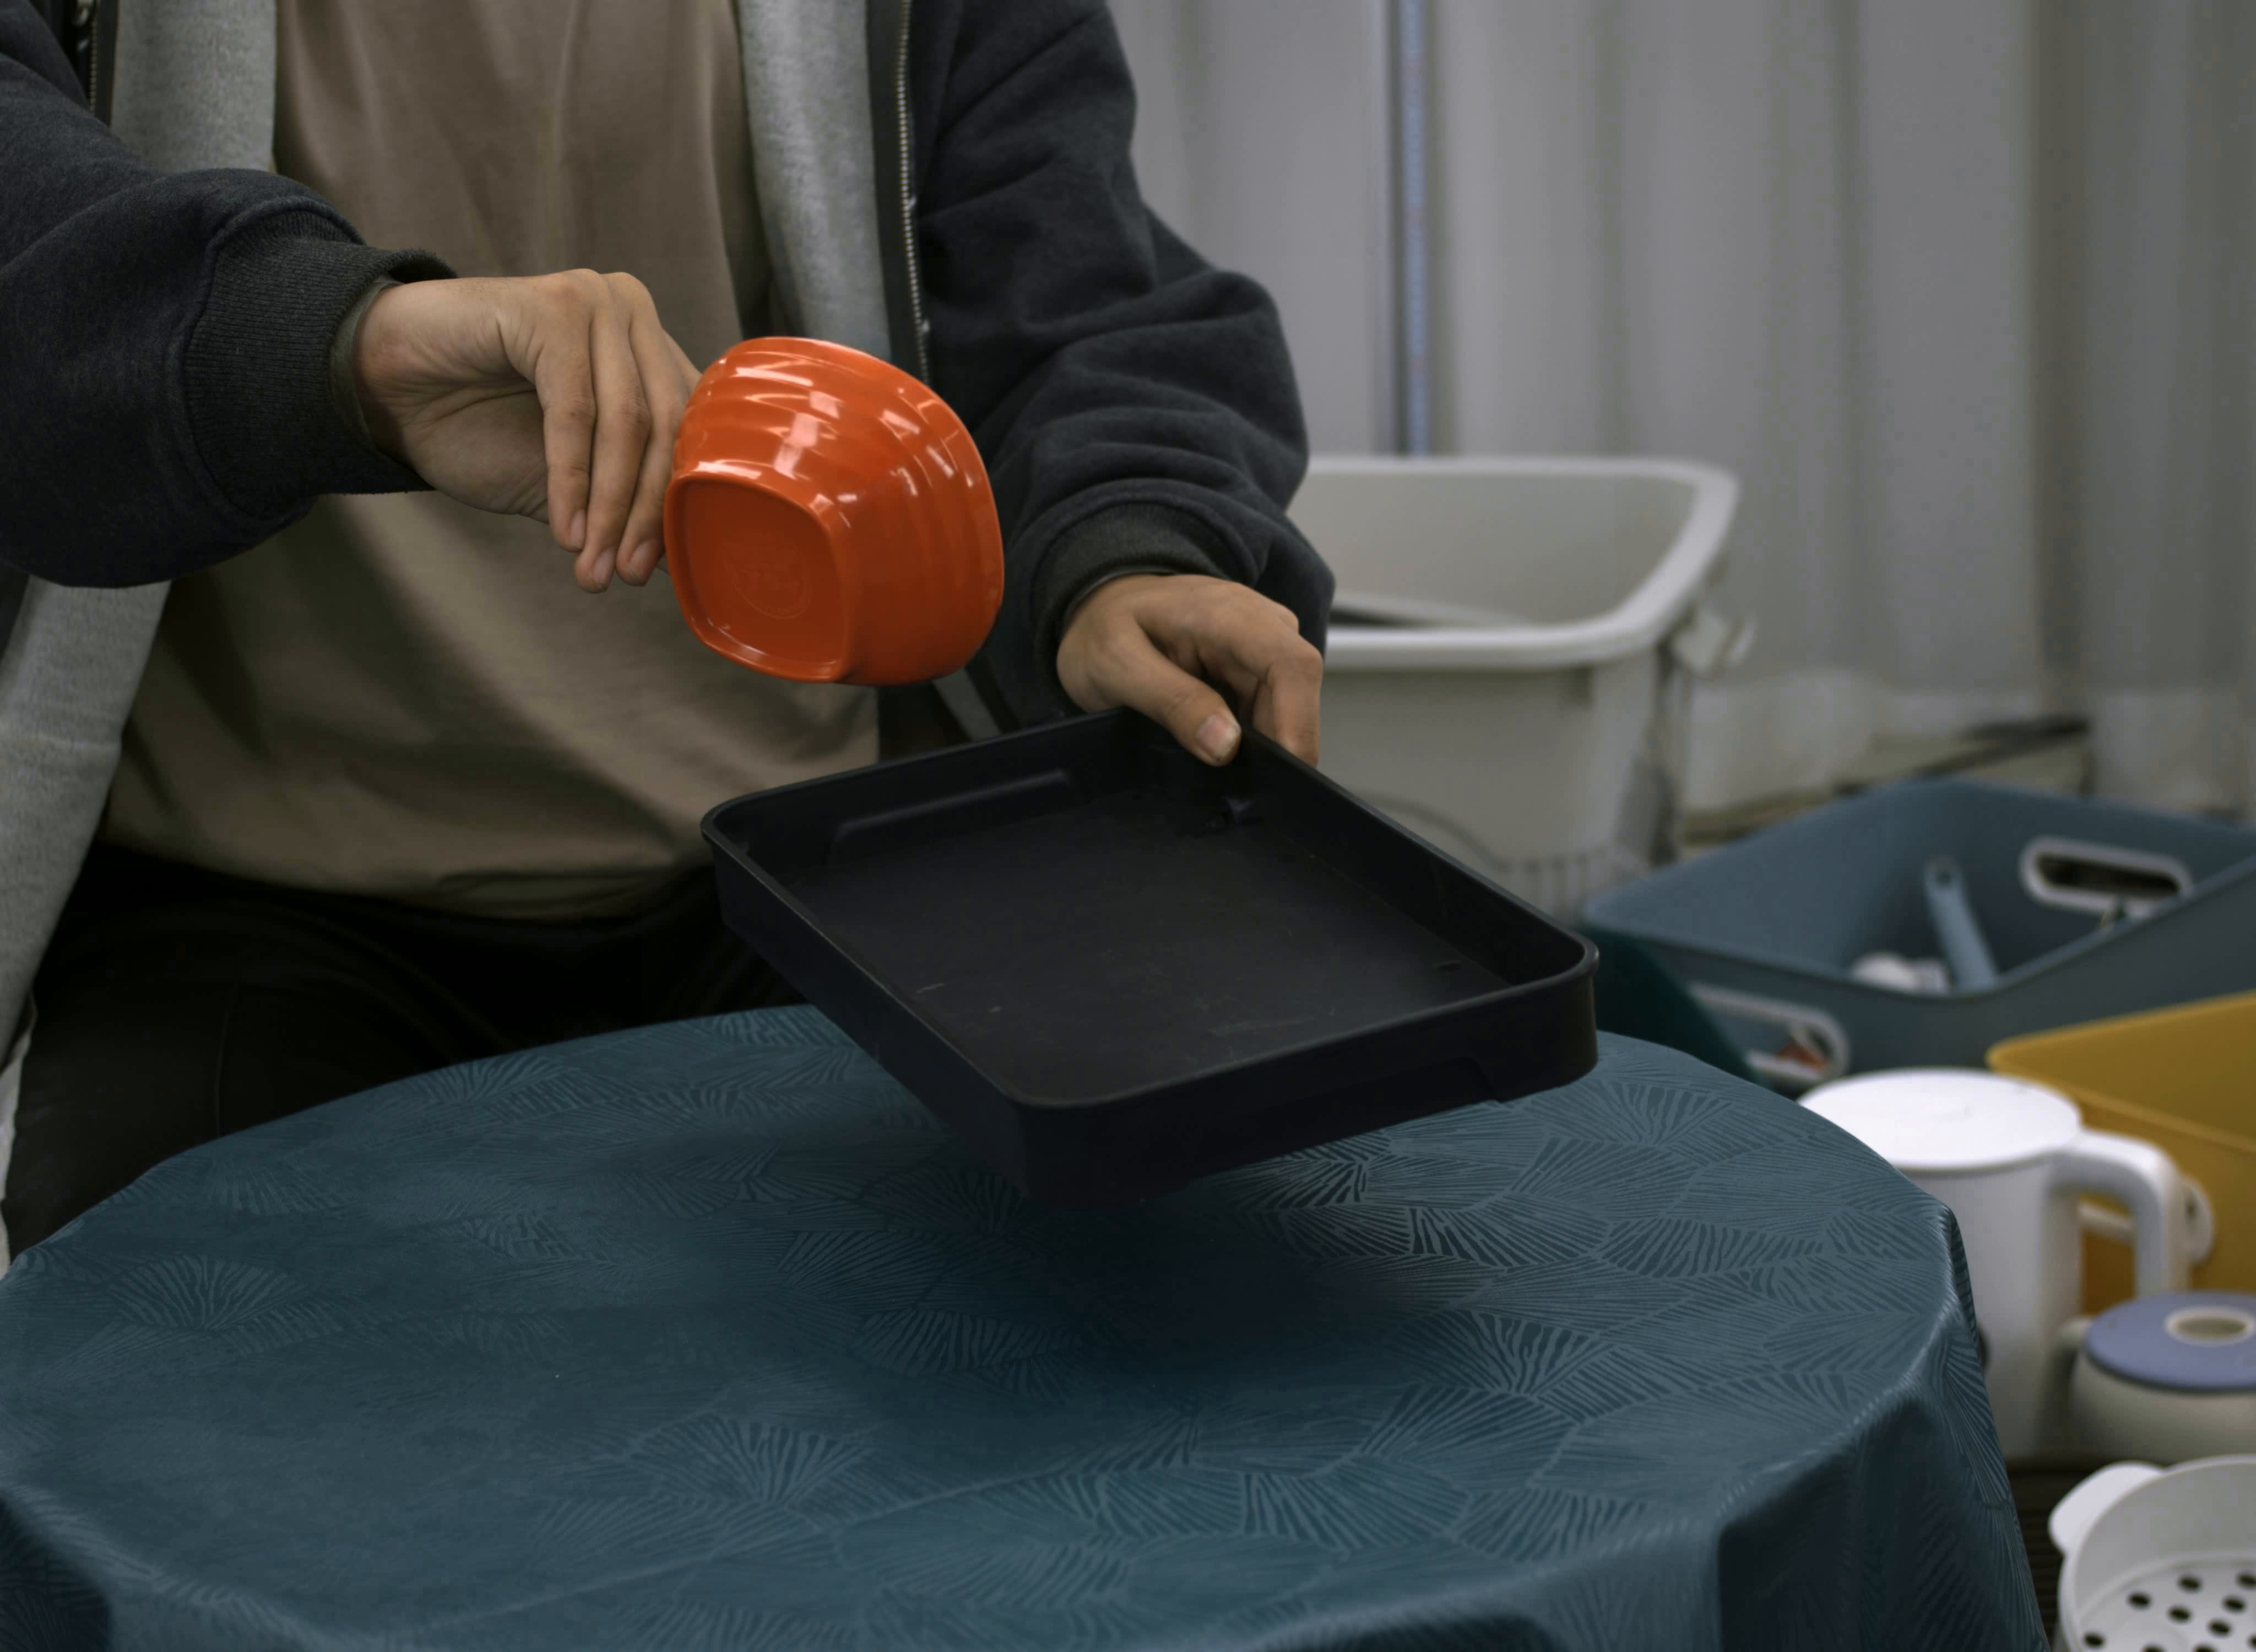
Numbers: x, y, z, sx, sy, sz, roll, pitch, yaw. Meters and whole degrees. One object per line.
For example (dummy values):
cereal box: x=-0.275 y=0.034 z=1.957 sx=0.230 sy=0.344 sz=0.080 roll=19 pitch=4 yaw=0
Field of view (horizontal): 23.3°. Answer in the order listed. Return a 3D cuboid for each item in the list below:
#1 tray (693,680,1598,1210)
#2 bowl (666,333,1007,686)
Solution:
tray: x=-0.001 y=0.030 z=1.674 sx=0.183 sy=0.037 sz=0.321 roll=-13 pitch=21 yaw=-19
bowl: x=-0.095 y=-0.085 z=1.625 sx=0.119 sy=0.118 sz=0.051 roll=8 pitch=34 yaw=36
